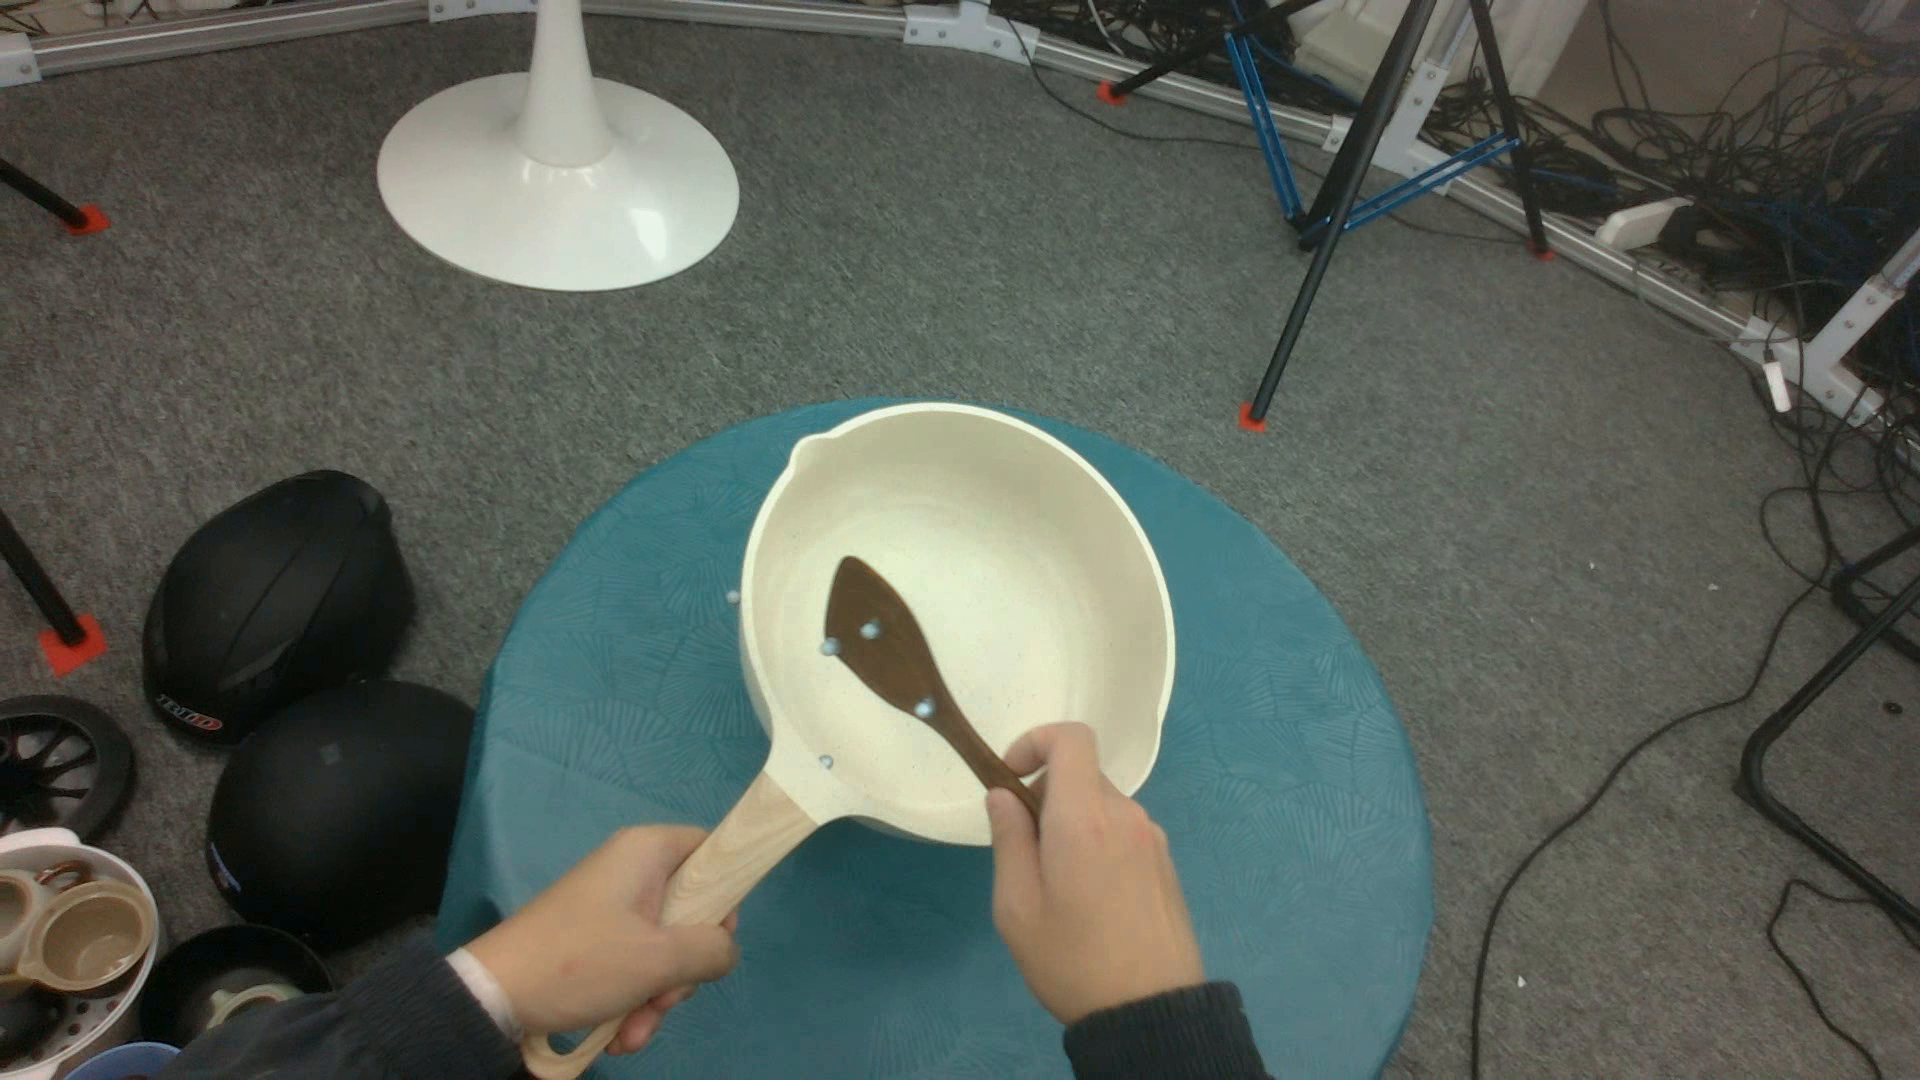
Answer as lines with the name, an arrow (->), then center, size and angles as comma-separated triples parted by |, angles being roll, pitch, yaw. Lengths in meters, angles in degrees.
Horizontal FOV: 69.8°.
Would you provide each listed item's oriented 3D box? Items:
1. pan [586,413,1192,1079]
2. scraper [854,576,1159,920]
pan -> -0.048, 0.115, 0.743 | 0.263, 0.101, 0.437 | 41, 61, 0
scraper -> 0.019, 0.102, 0.666 | 0.011, 0.075, 0.211 | -27, 58, -34
